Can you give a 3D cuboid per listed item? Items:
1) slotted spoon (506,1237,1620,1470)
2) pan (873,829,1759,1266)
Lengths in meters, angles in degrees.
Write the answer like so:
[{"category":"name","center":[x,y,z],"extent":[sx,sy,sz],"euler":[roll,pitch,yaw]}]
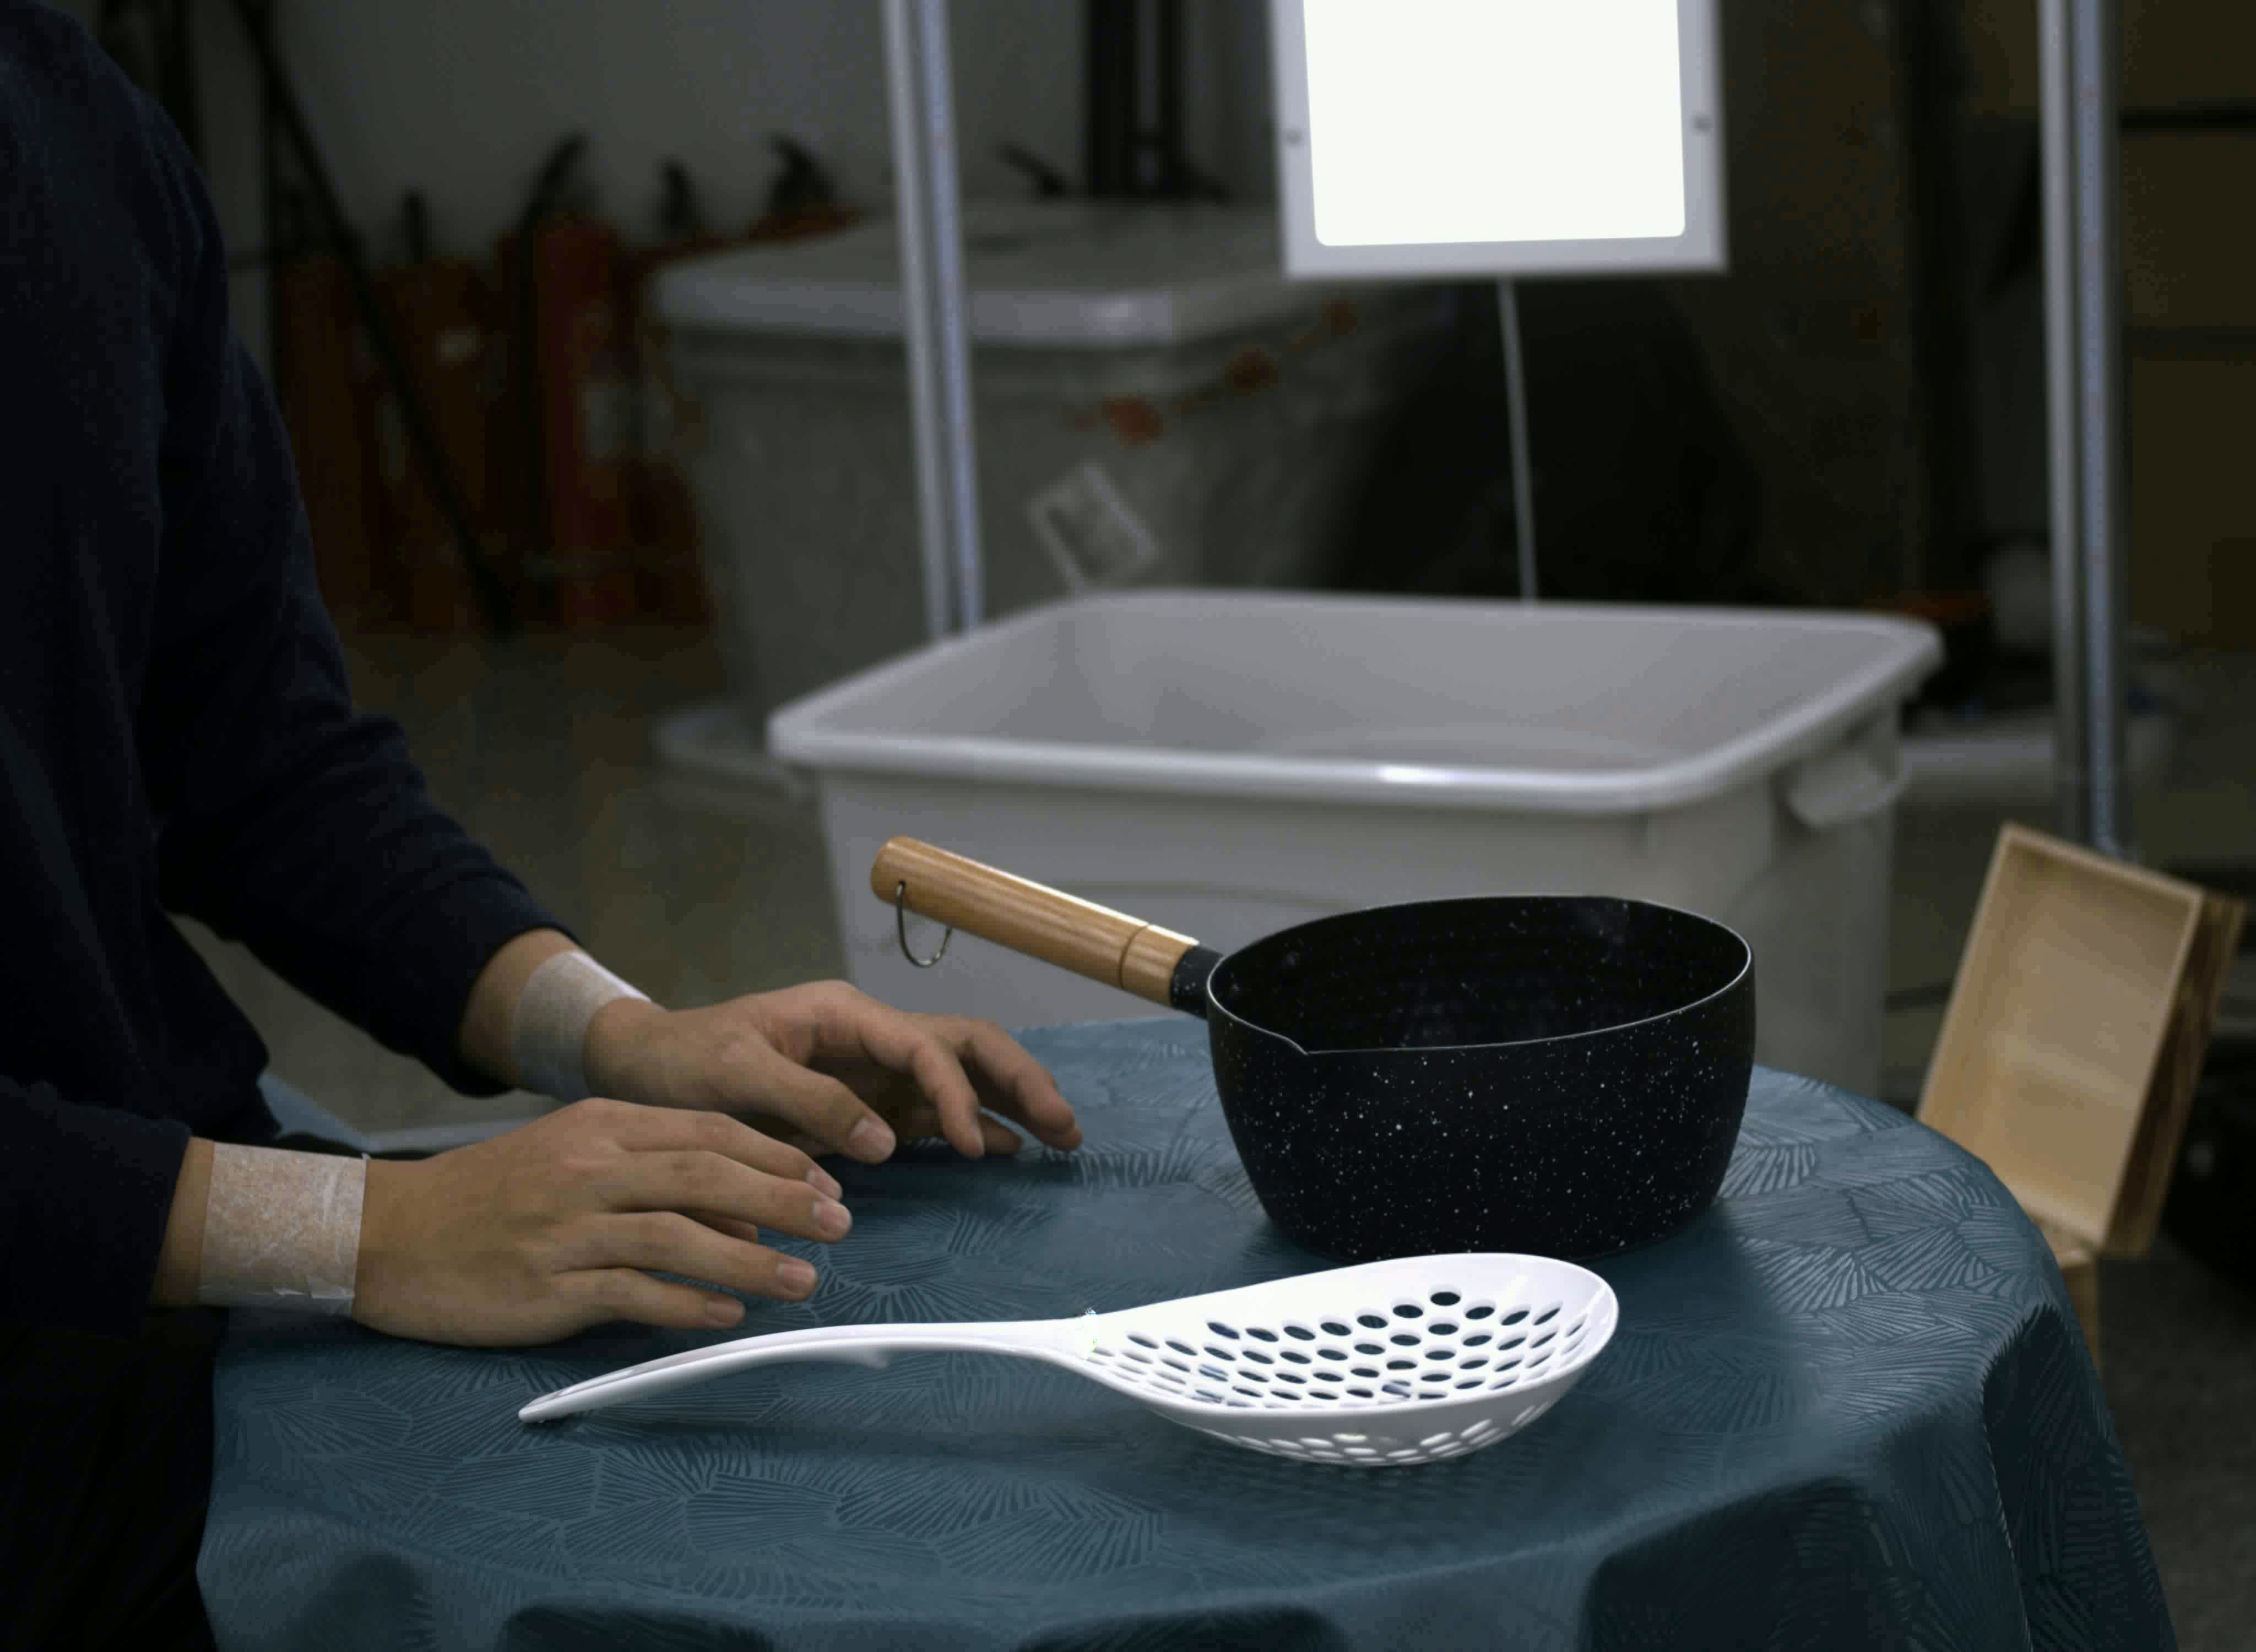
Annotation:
[{"category":"slotted spoon","center":[-0.024,0.164,1.662],"extent":[0.352,0.050,0.135],"euler":[1,17,17]},{"category":"pan","center":[0.054,0.070,1.882],"extent":[0.350,0.108,0.202],"euler":[6,19,35]}]
